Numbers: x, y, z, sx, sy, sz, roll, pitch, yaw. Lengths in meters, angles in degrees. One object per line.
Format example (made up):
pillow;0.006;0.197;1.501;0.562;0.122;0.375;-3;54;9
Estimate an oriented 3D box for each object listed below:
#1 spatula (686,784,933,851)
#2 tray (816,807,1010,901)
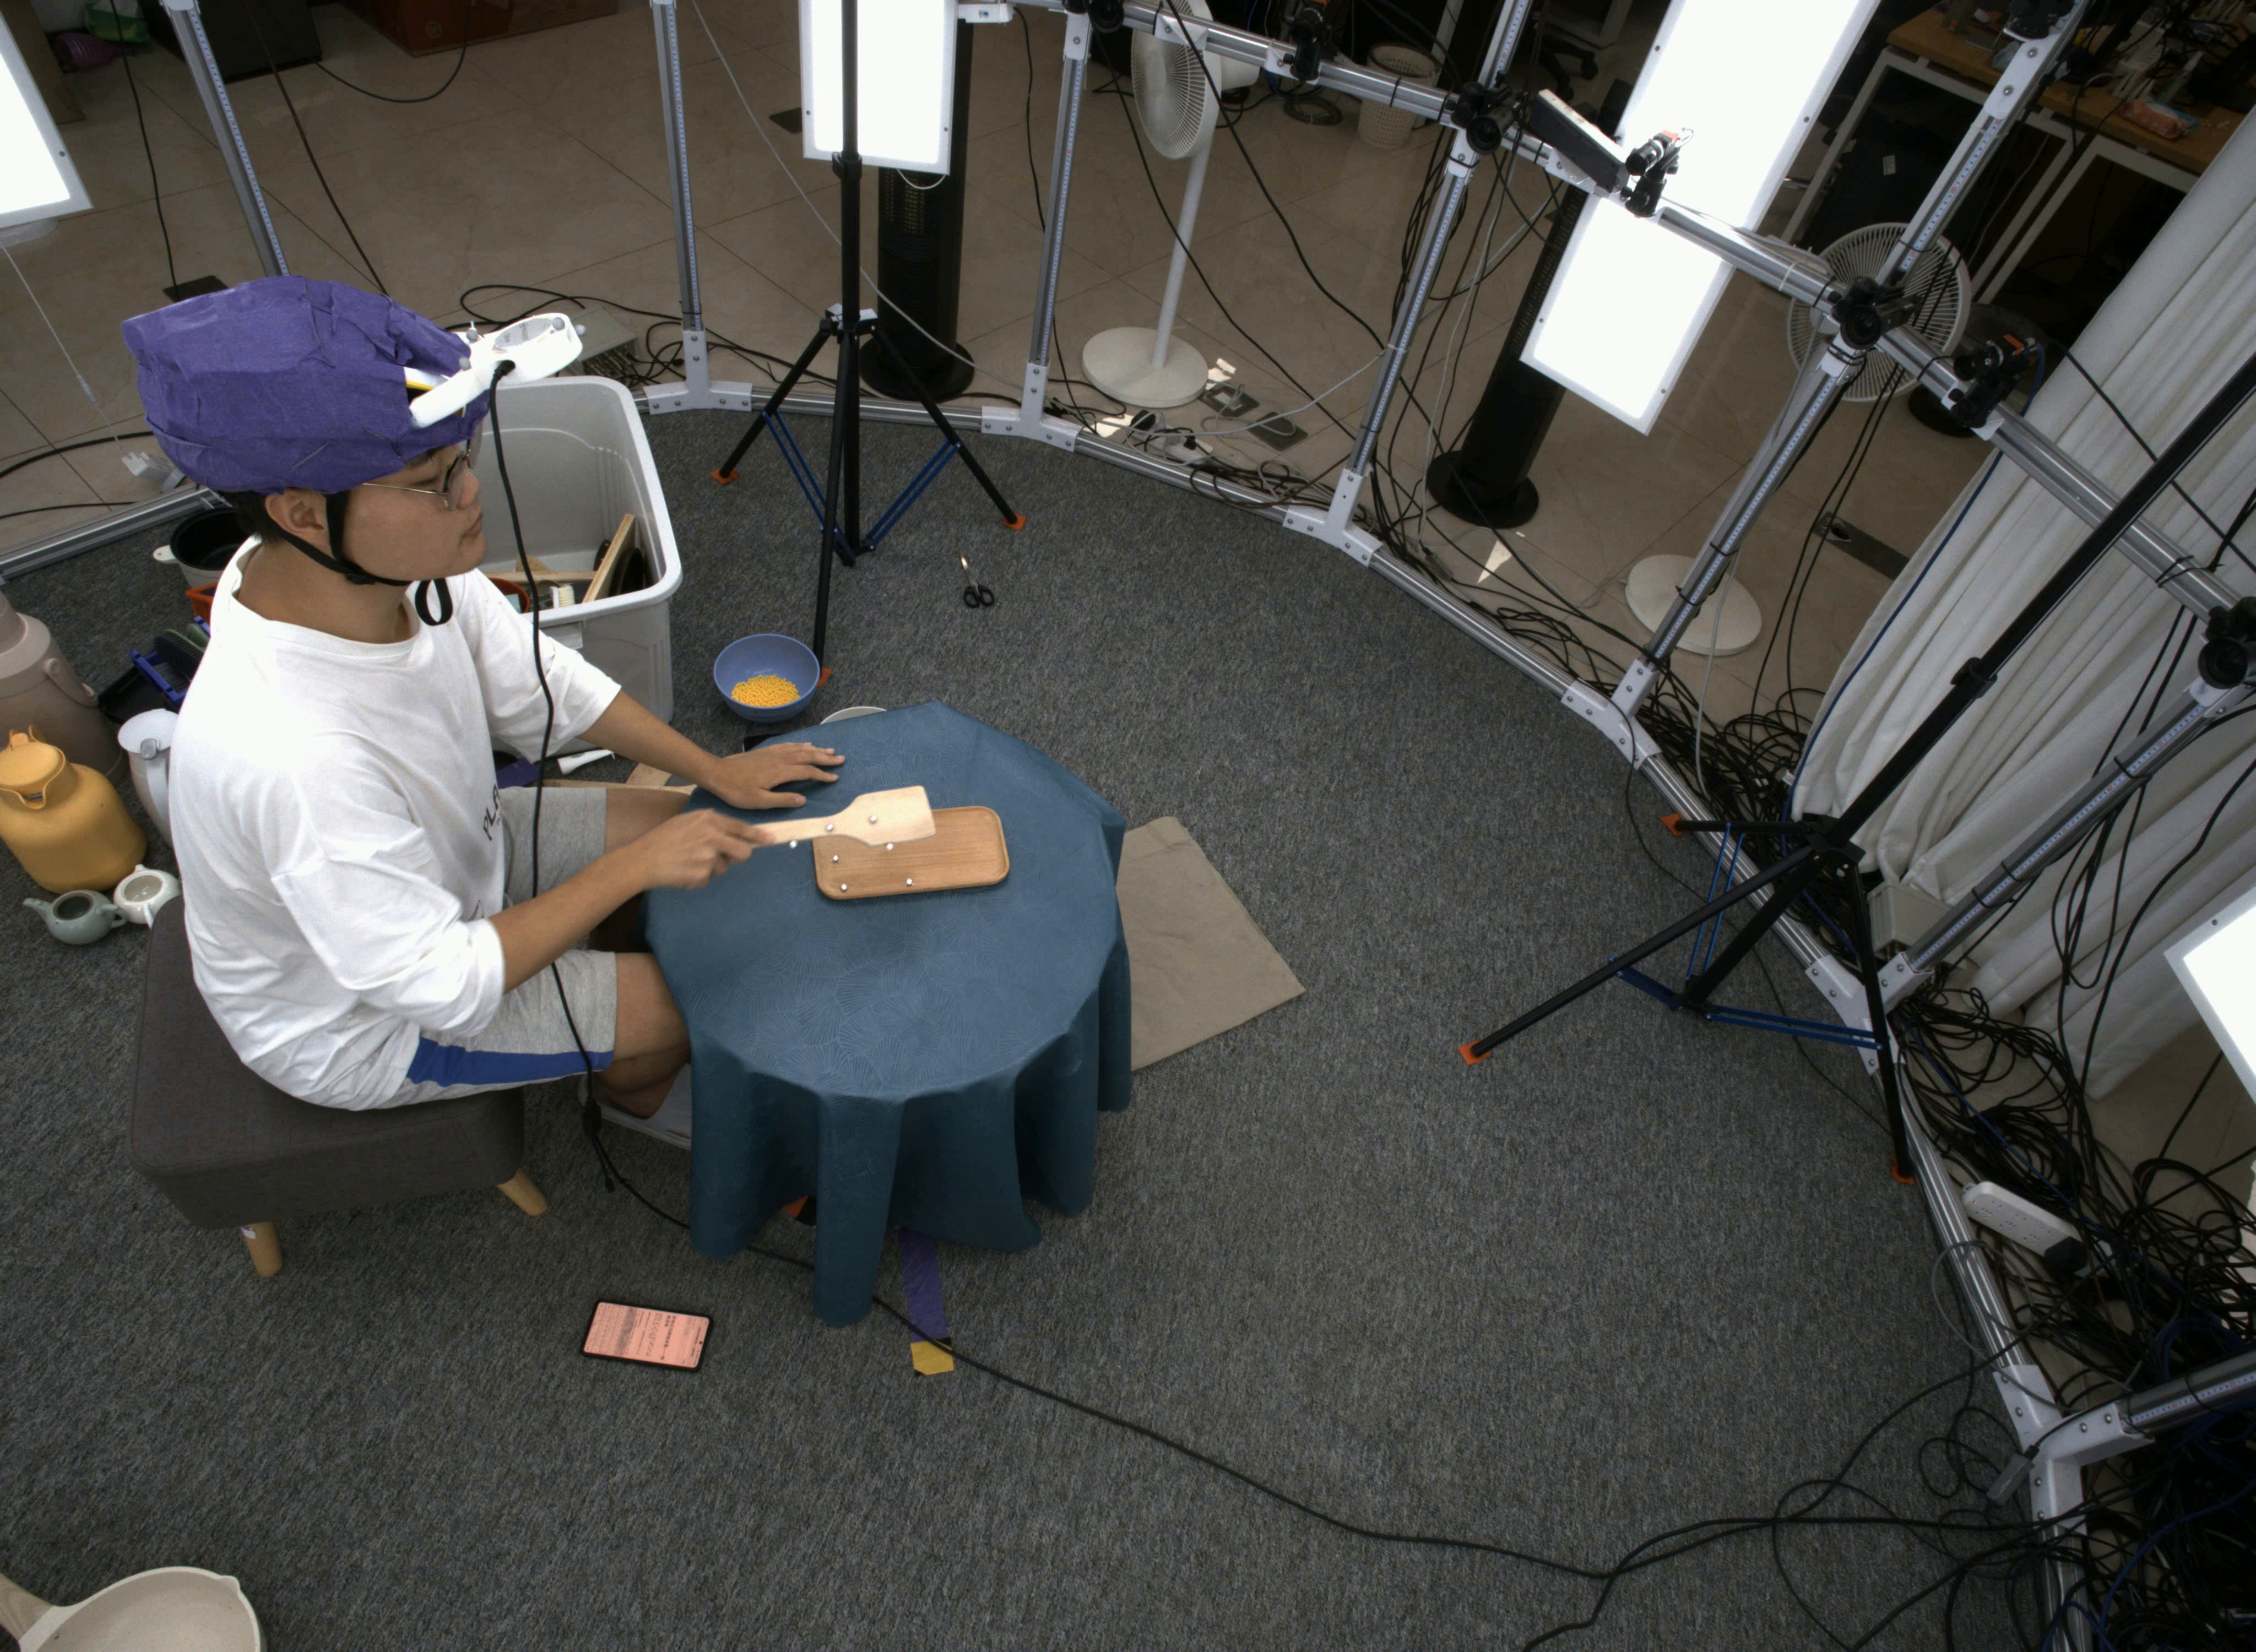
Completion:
spatula;-0.378;-0.002;1.550;0.296;0.011;0.071;-9;69;-28
tray;-0.286;0.036;1.731;0.251;0.023;0.128;-4;57;-16
